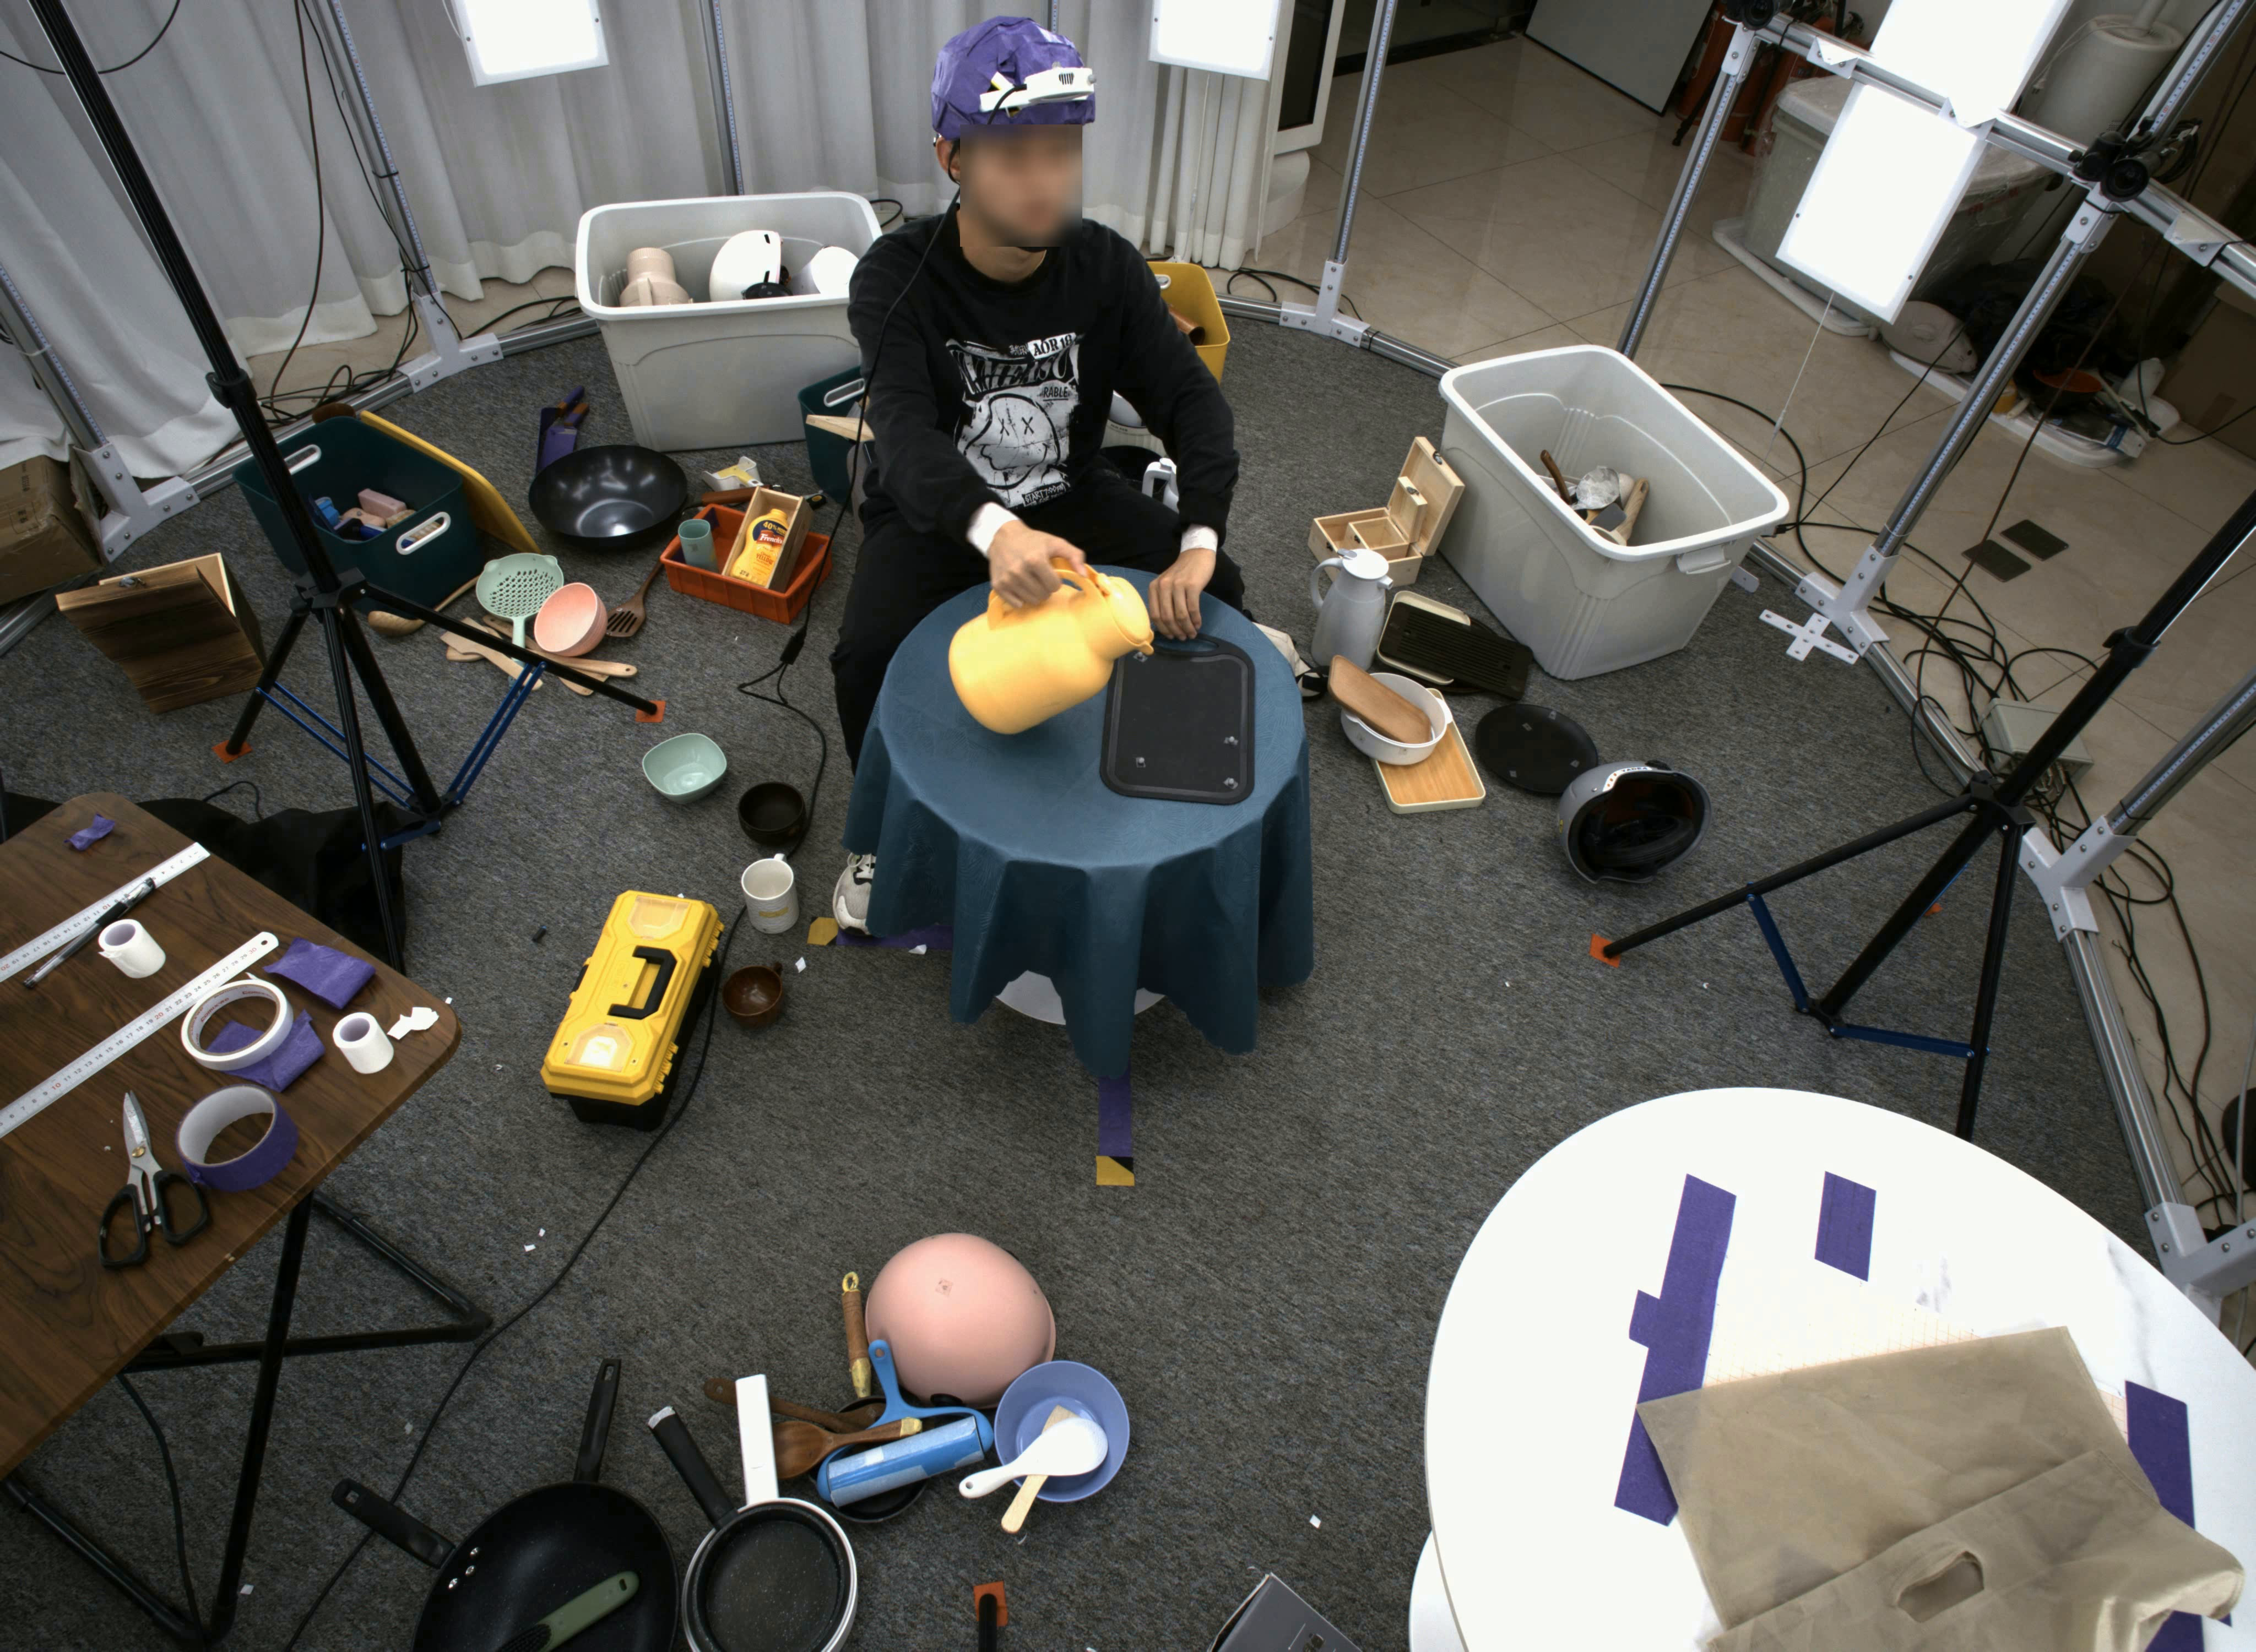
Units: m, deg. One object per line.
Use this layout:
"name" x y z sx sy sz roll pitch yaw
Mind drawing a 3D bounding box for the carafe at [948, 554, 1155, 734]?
"carafe" -0.106 -0.245 1.665 0.259 0.198 0.167 -23 41 23

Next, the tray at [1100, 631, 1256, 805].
"tray" 0.074 -0.163 1.806 0.211 0.009 0.333 6 51 1
